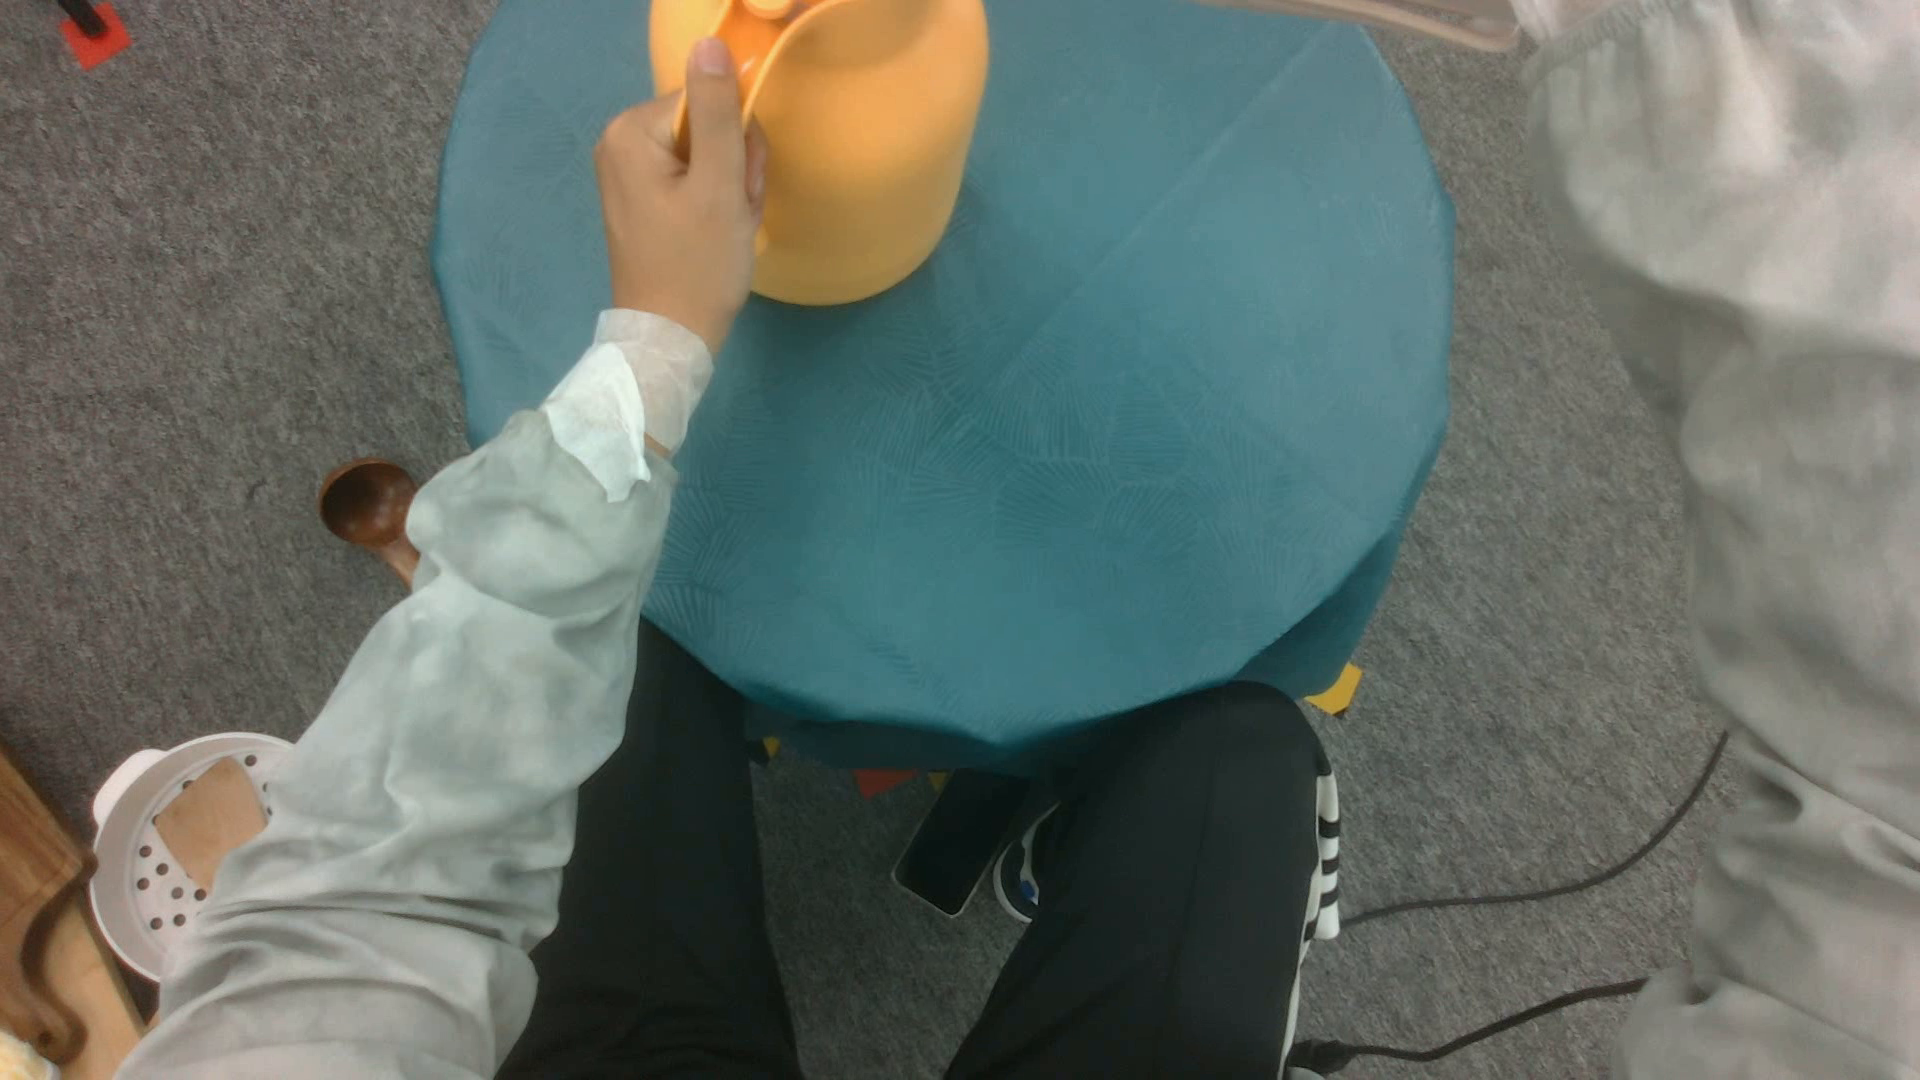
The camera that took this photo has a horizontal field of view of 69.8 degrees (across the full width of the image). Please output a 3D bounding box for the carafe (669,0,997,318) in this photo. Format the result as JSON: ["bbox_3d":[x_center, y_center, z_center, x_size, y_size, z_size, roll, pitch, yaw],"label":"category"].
[{"bbox_3d":[-0.073,-0.214,0.682,0.163,0.259,0.203,28,71,2],"label":"carafe"}]

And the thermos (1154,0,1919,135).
[{"bbox_3d":[0.169,-0.243,0.442,0.406,0.207,0.175,11,99,1],"label":"thermos"}]
